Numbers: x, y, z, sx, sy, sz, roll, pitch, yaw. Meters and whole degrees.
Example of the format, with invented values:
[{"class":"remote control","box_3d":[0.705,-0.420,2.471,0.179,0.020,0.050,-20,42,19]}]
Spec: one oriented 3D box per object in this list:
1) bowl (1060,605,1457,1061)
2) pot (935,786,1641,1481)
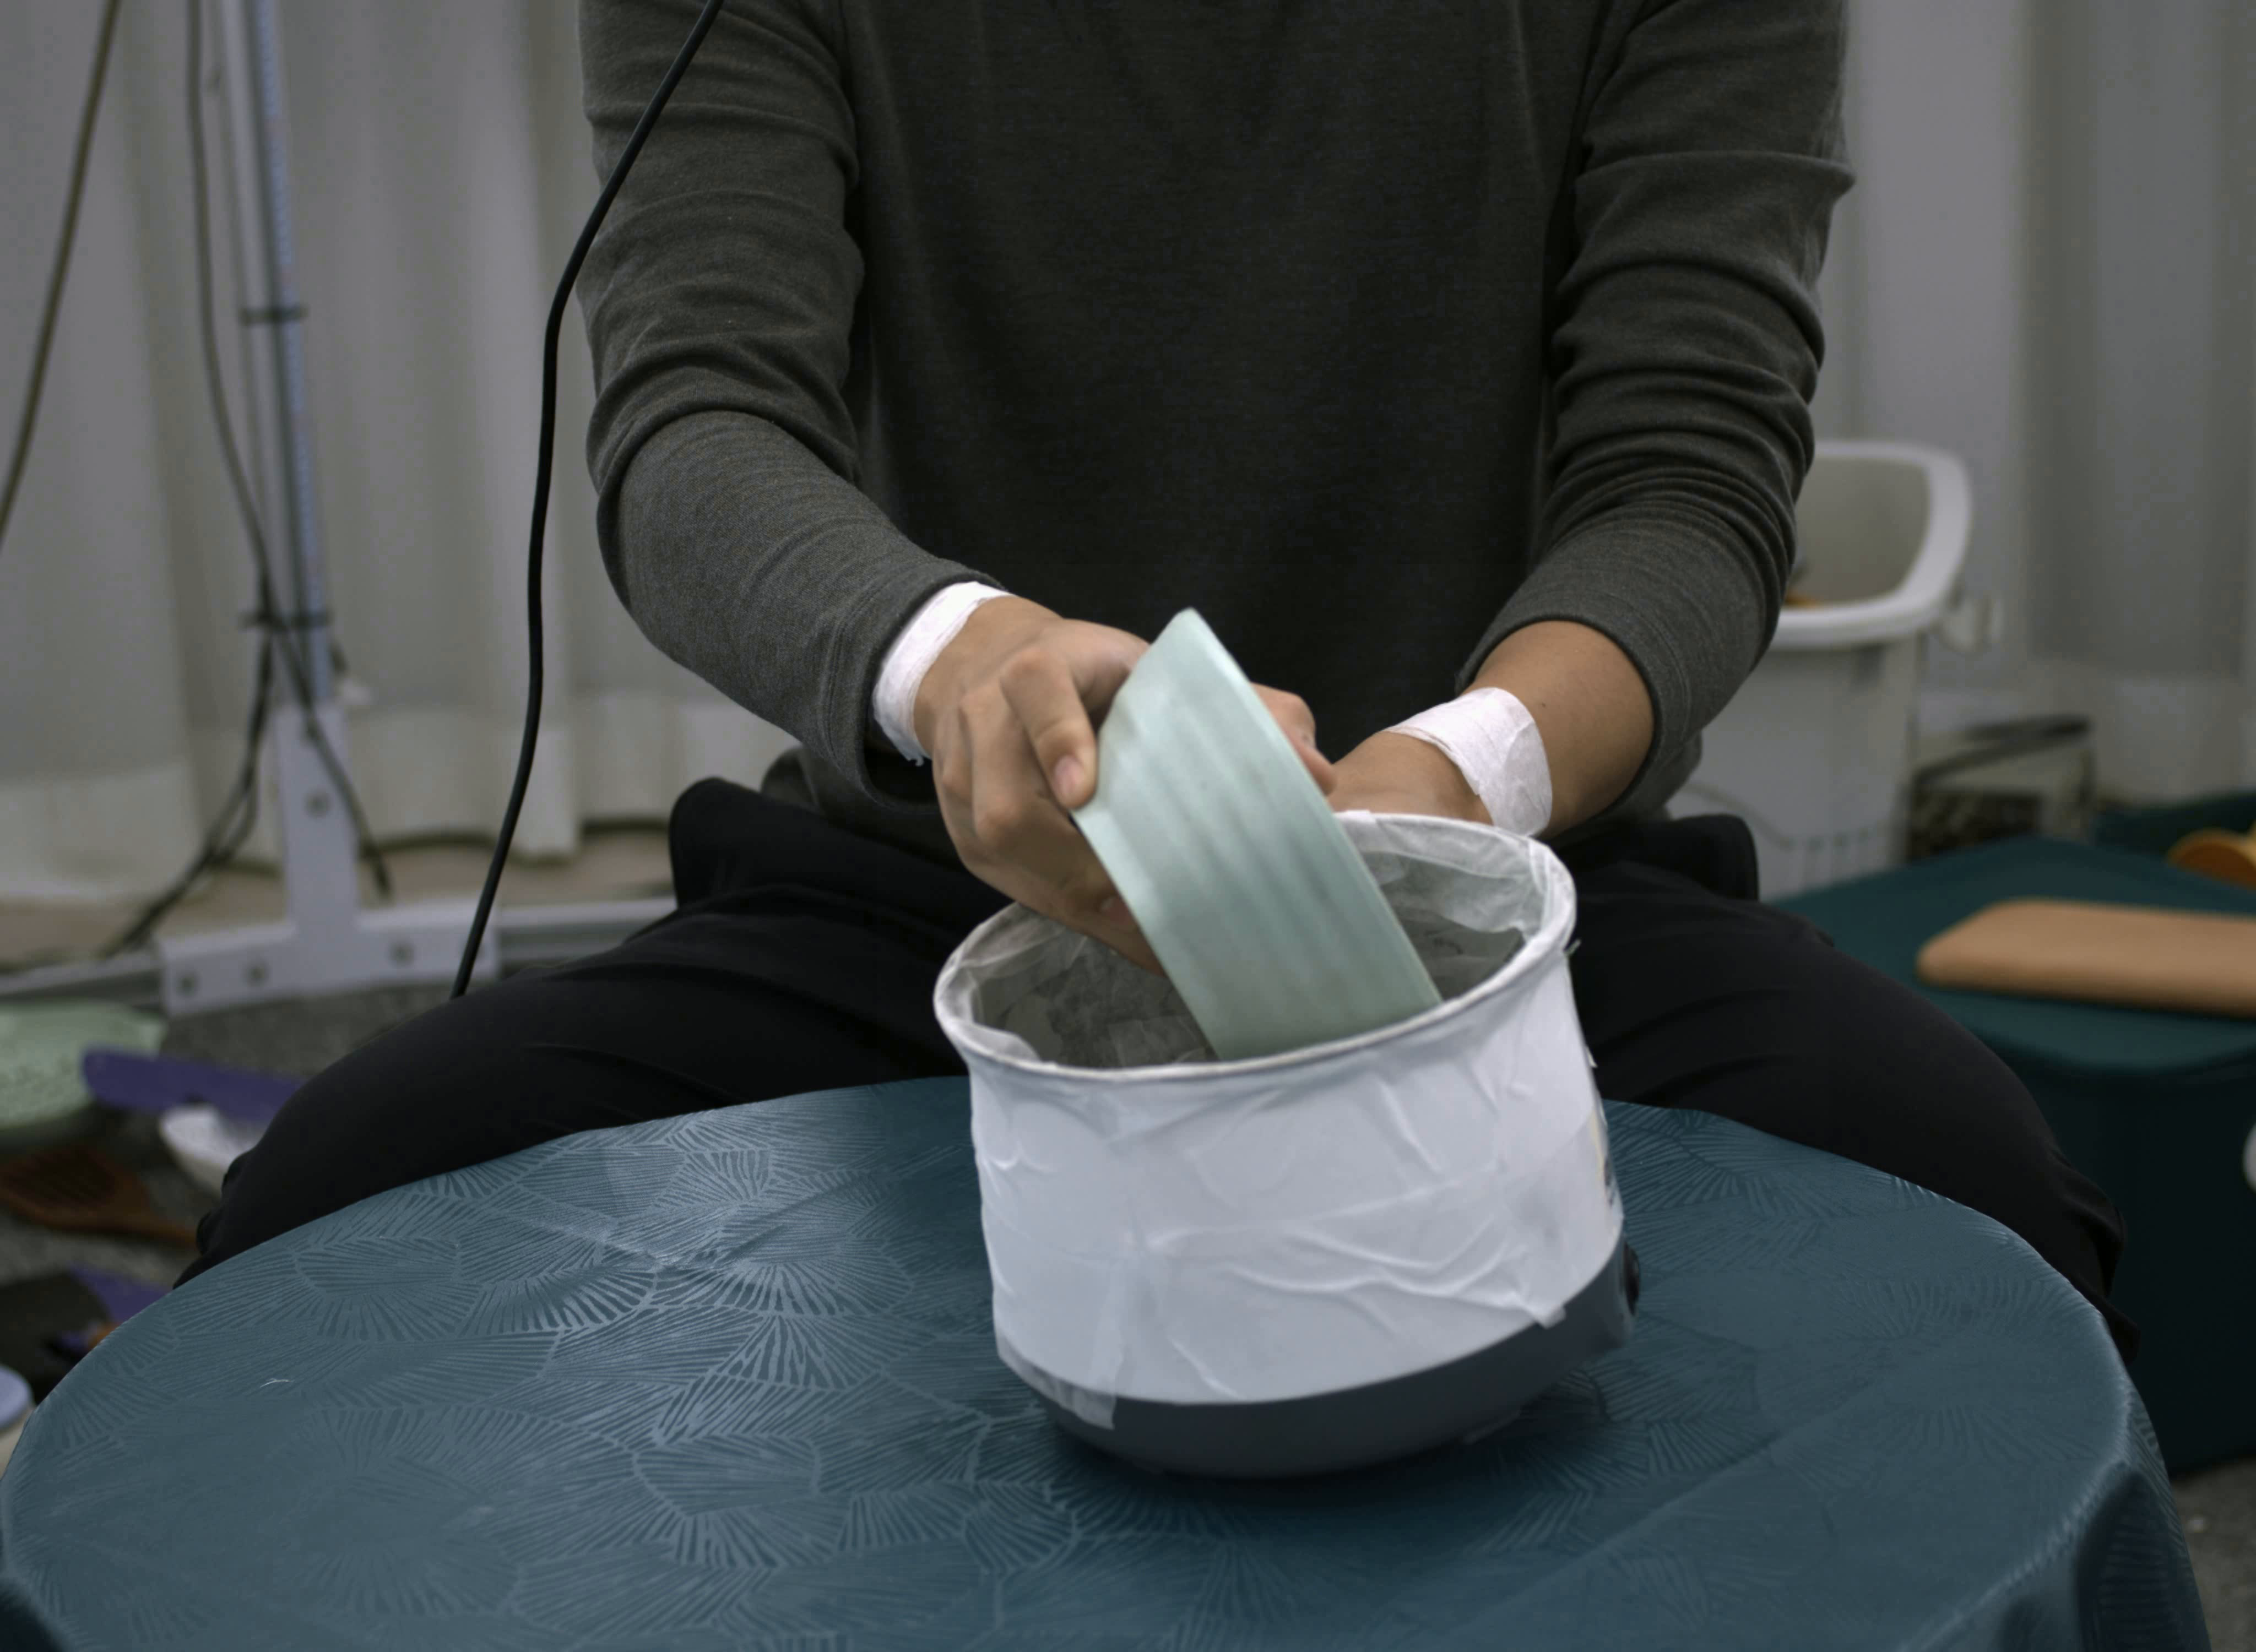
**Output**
[{"class":"bowl","box_3d":[0.030,0.018,1.472,0.058,0.150,0.152,-31,16,0]},{"class":"pot","box_3d":[0.048,0.078,1.530,0.178,0.136,0.235,-7,20,9]}]
